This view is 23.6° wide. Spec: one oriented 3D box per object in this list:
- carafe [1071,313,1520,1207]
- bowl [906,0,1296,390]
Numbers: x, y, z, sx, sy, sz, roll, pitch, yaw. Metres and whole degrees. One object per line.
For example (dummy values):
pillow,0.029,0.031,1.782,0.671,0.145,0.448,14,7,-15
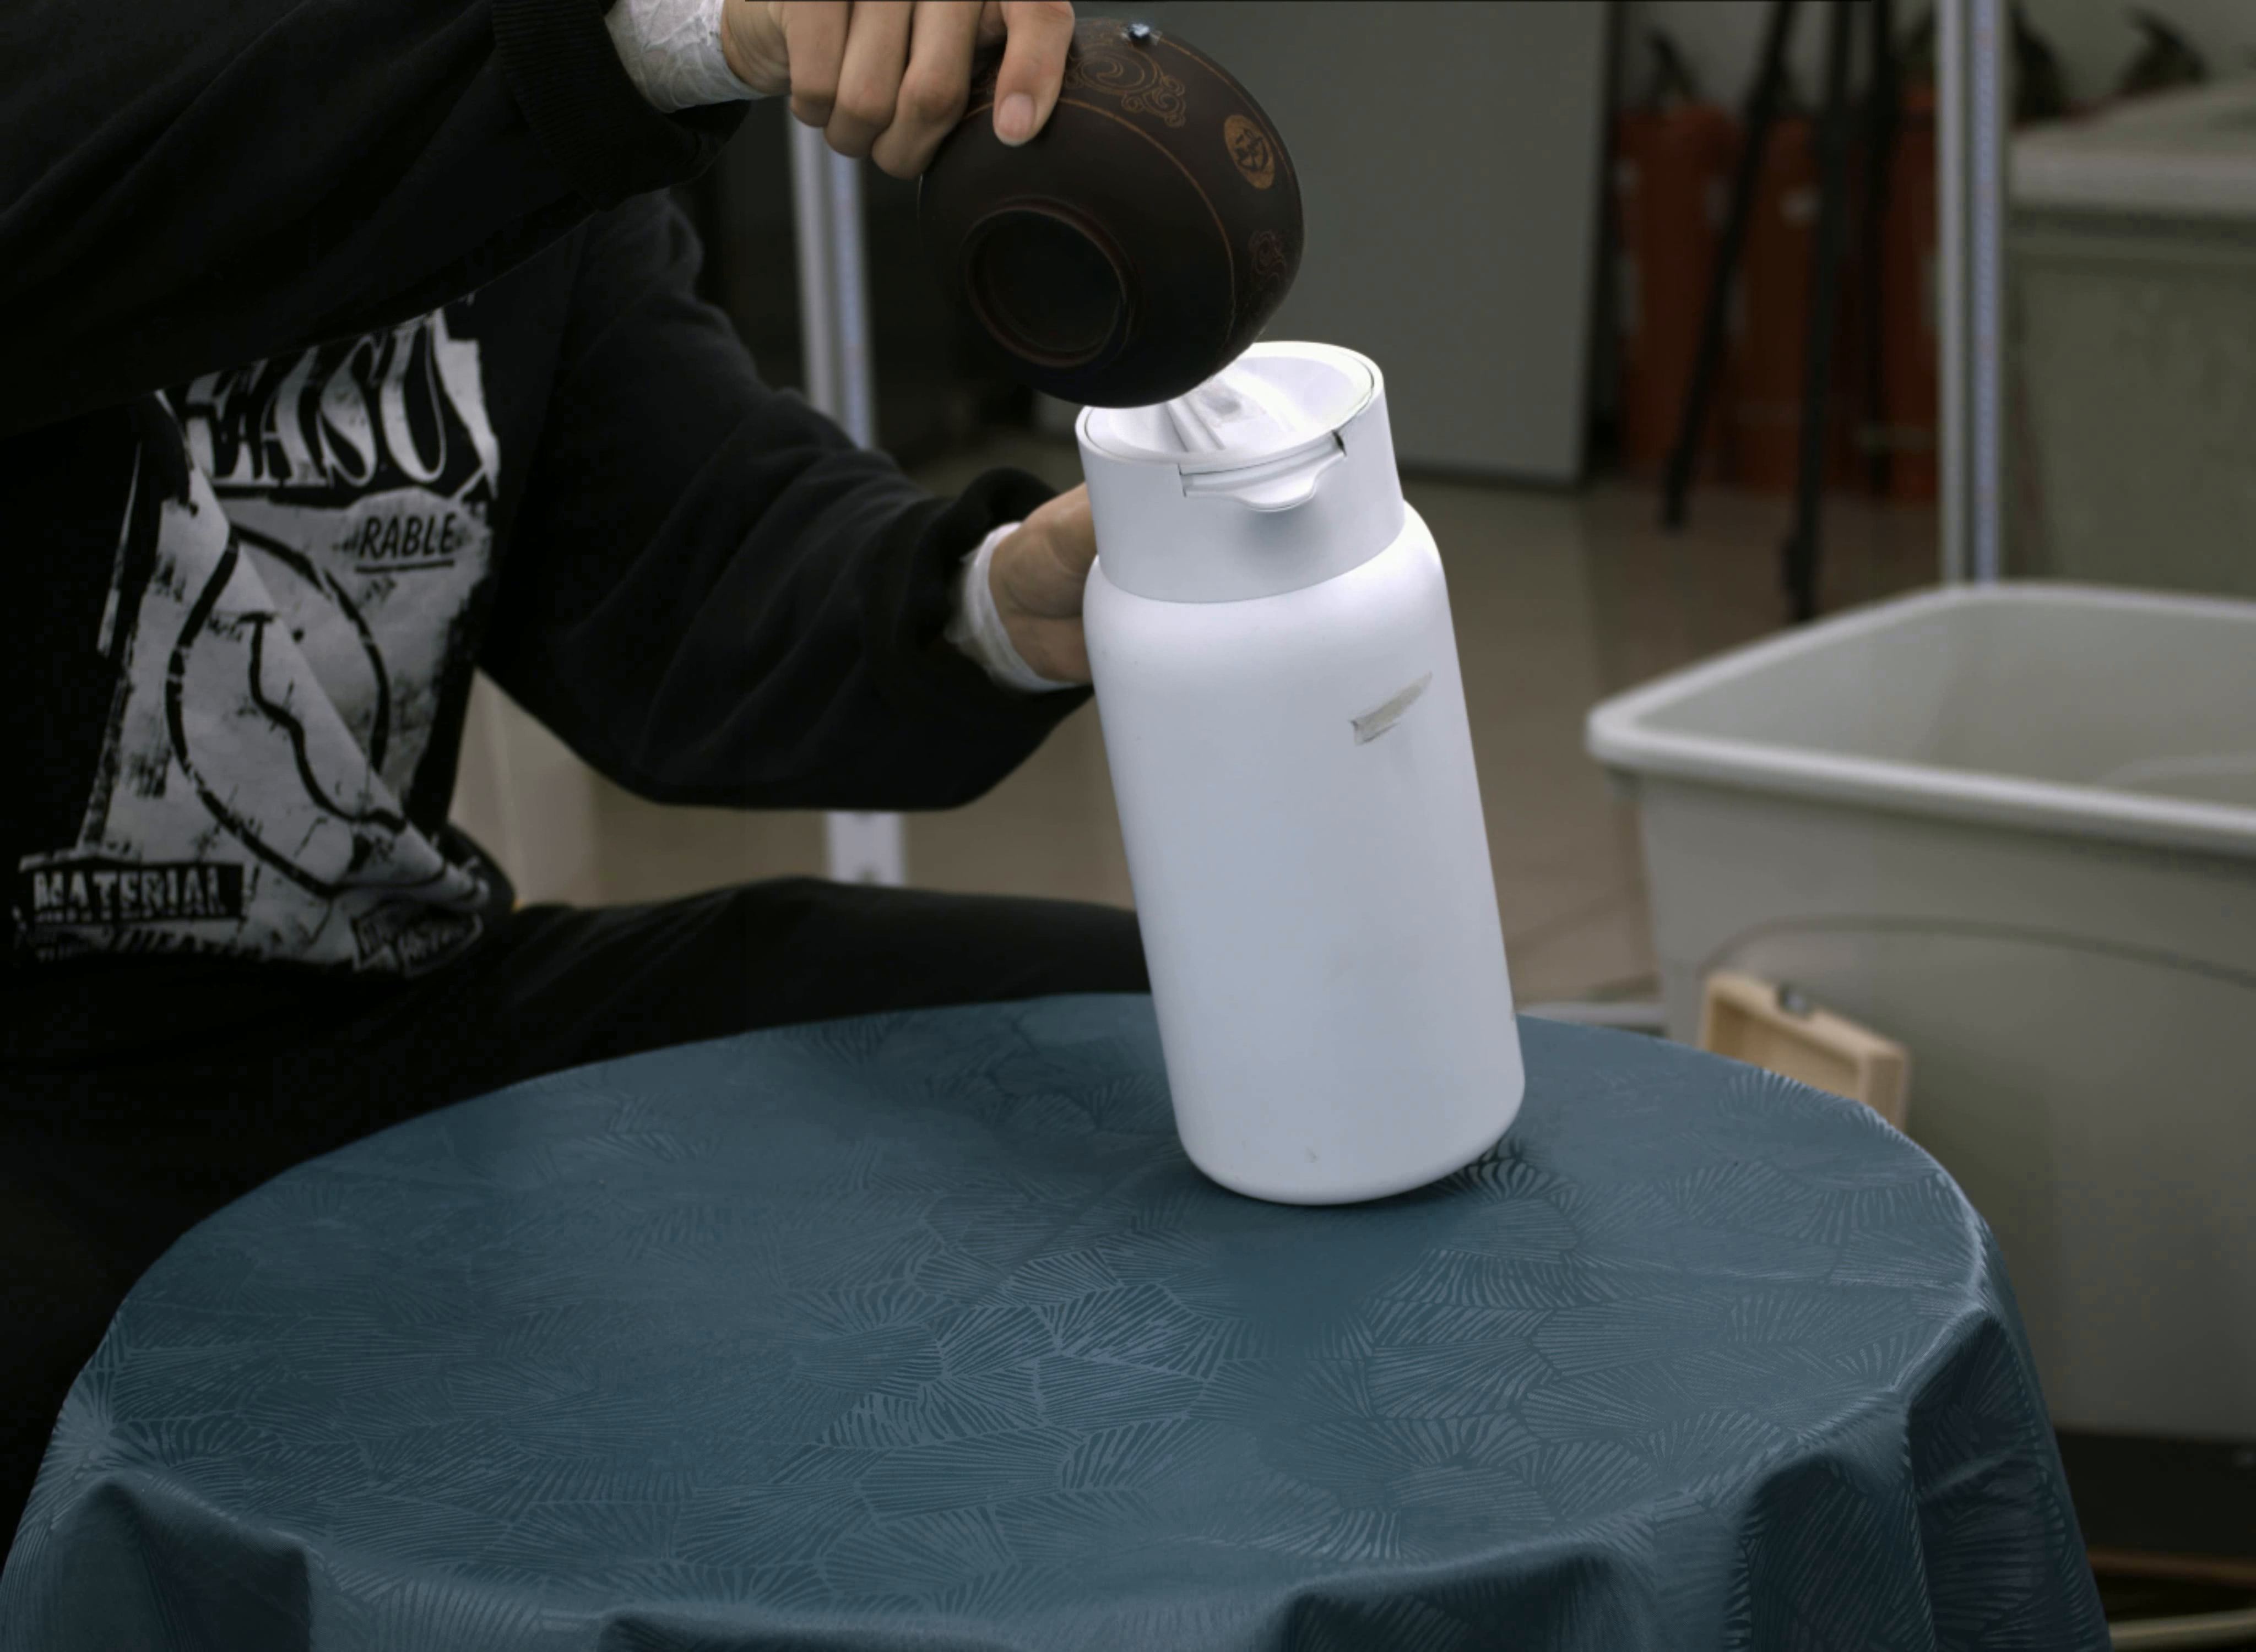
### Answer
carafe,0.047,-0.025,1.750,0.122,0.270,0.174,-17,25,-8
bowl,-0.014,-0.182,1.611,0.118,0.118,0.069,4,36,28
